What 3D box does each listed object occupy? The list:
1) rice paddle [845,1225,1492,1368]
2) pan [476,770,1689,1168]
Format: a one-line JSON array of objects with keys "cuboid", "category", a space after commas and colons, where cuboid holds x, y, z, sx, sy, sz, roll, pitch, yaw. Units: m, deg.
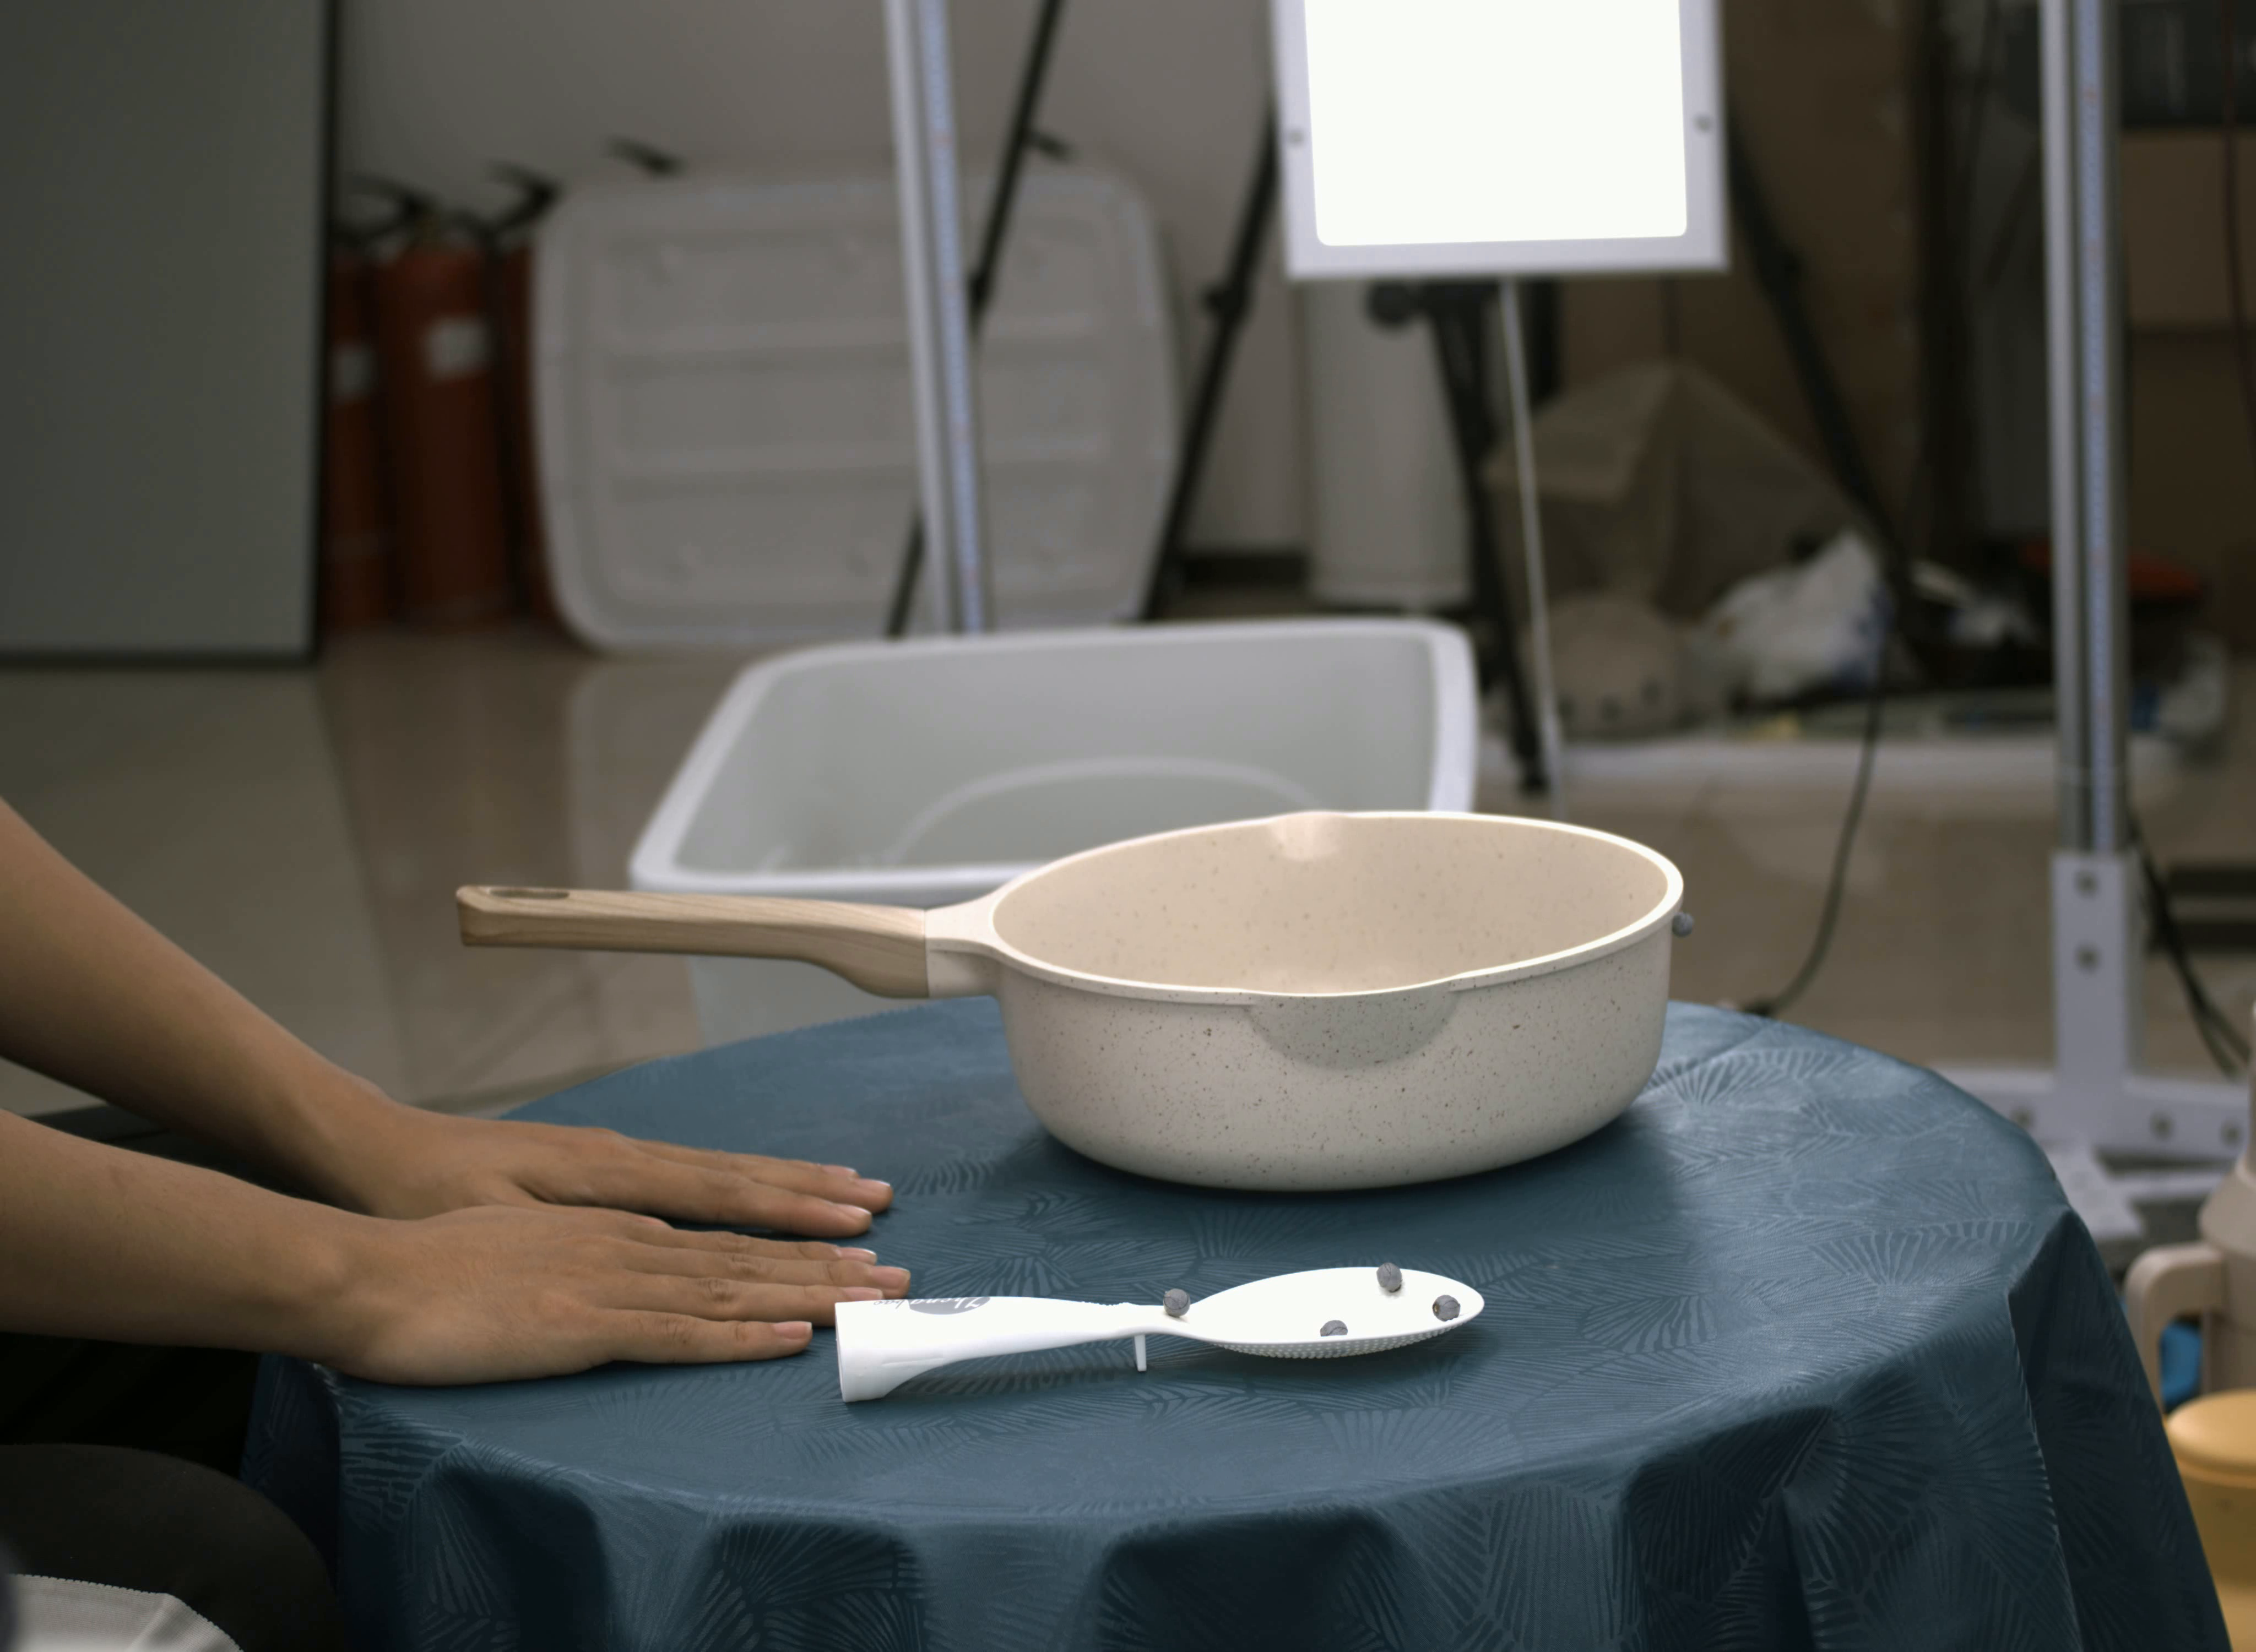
[{"cuboid": [0.014, 0.143, 1.730, 0.204, 0.029, 0.069, -6, 15, -3], "category": "rice paddle"}, {"cuboid": [-0.013, 0.054, 1.980, 0.434, 0.102, 0.263, -5, 16, 1], "category": "pan"}]
